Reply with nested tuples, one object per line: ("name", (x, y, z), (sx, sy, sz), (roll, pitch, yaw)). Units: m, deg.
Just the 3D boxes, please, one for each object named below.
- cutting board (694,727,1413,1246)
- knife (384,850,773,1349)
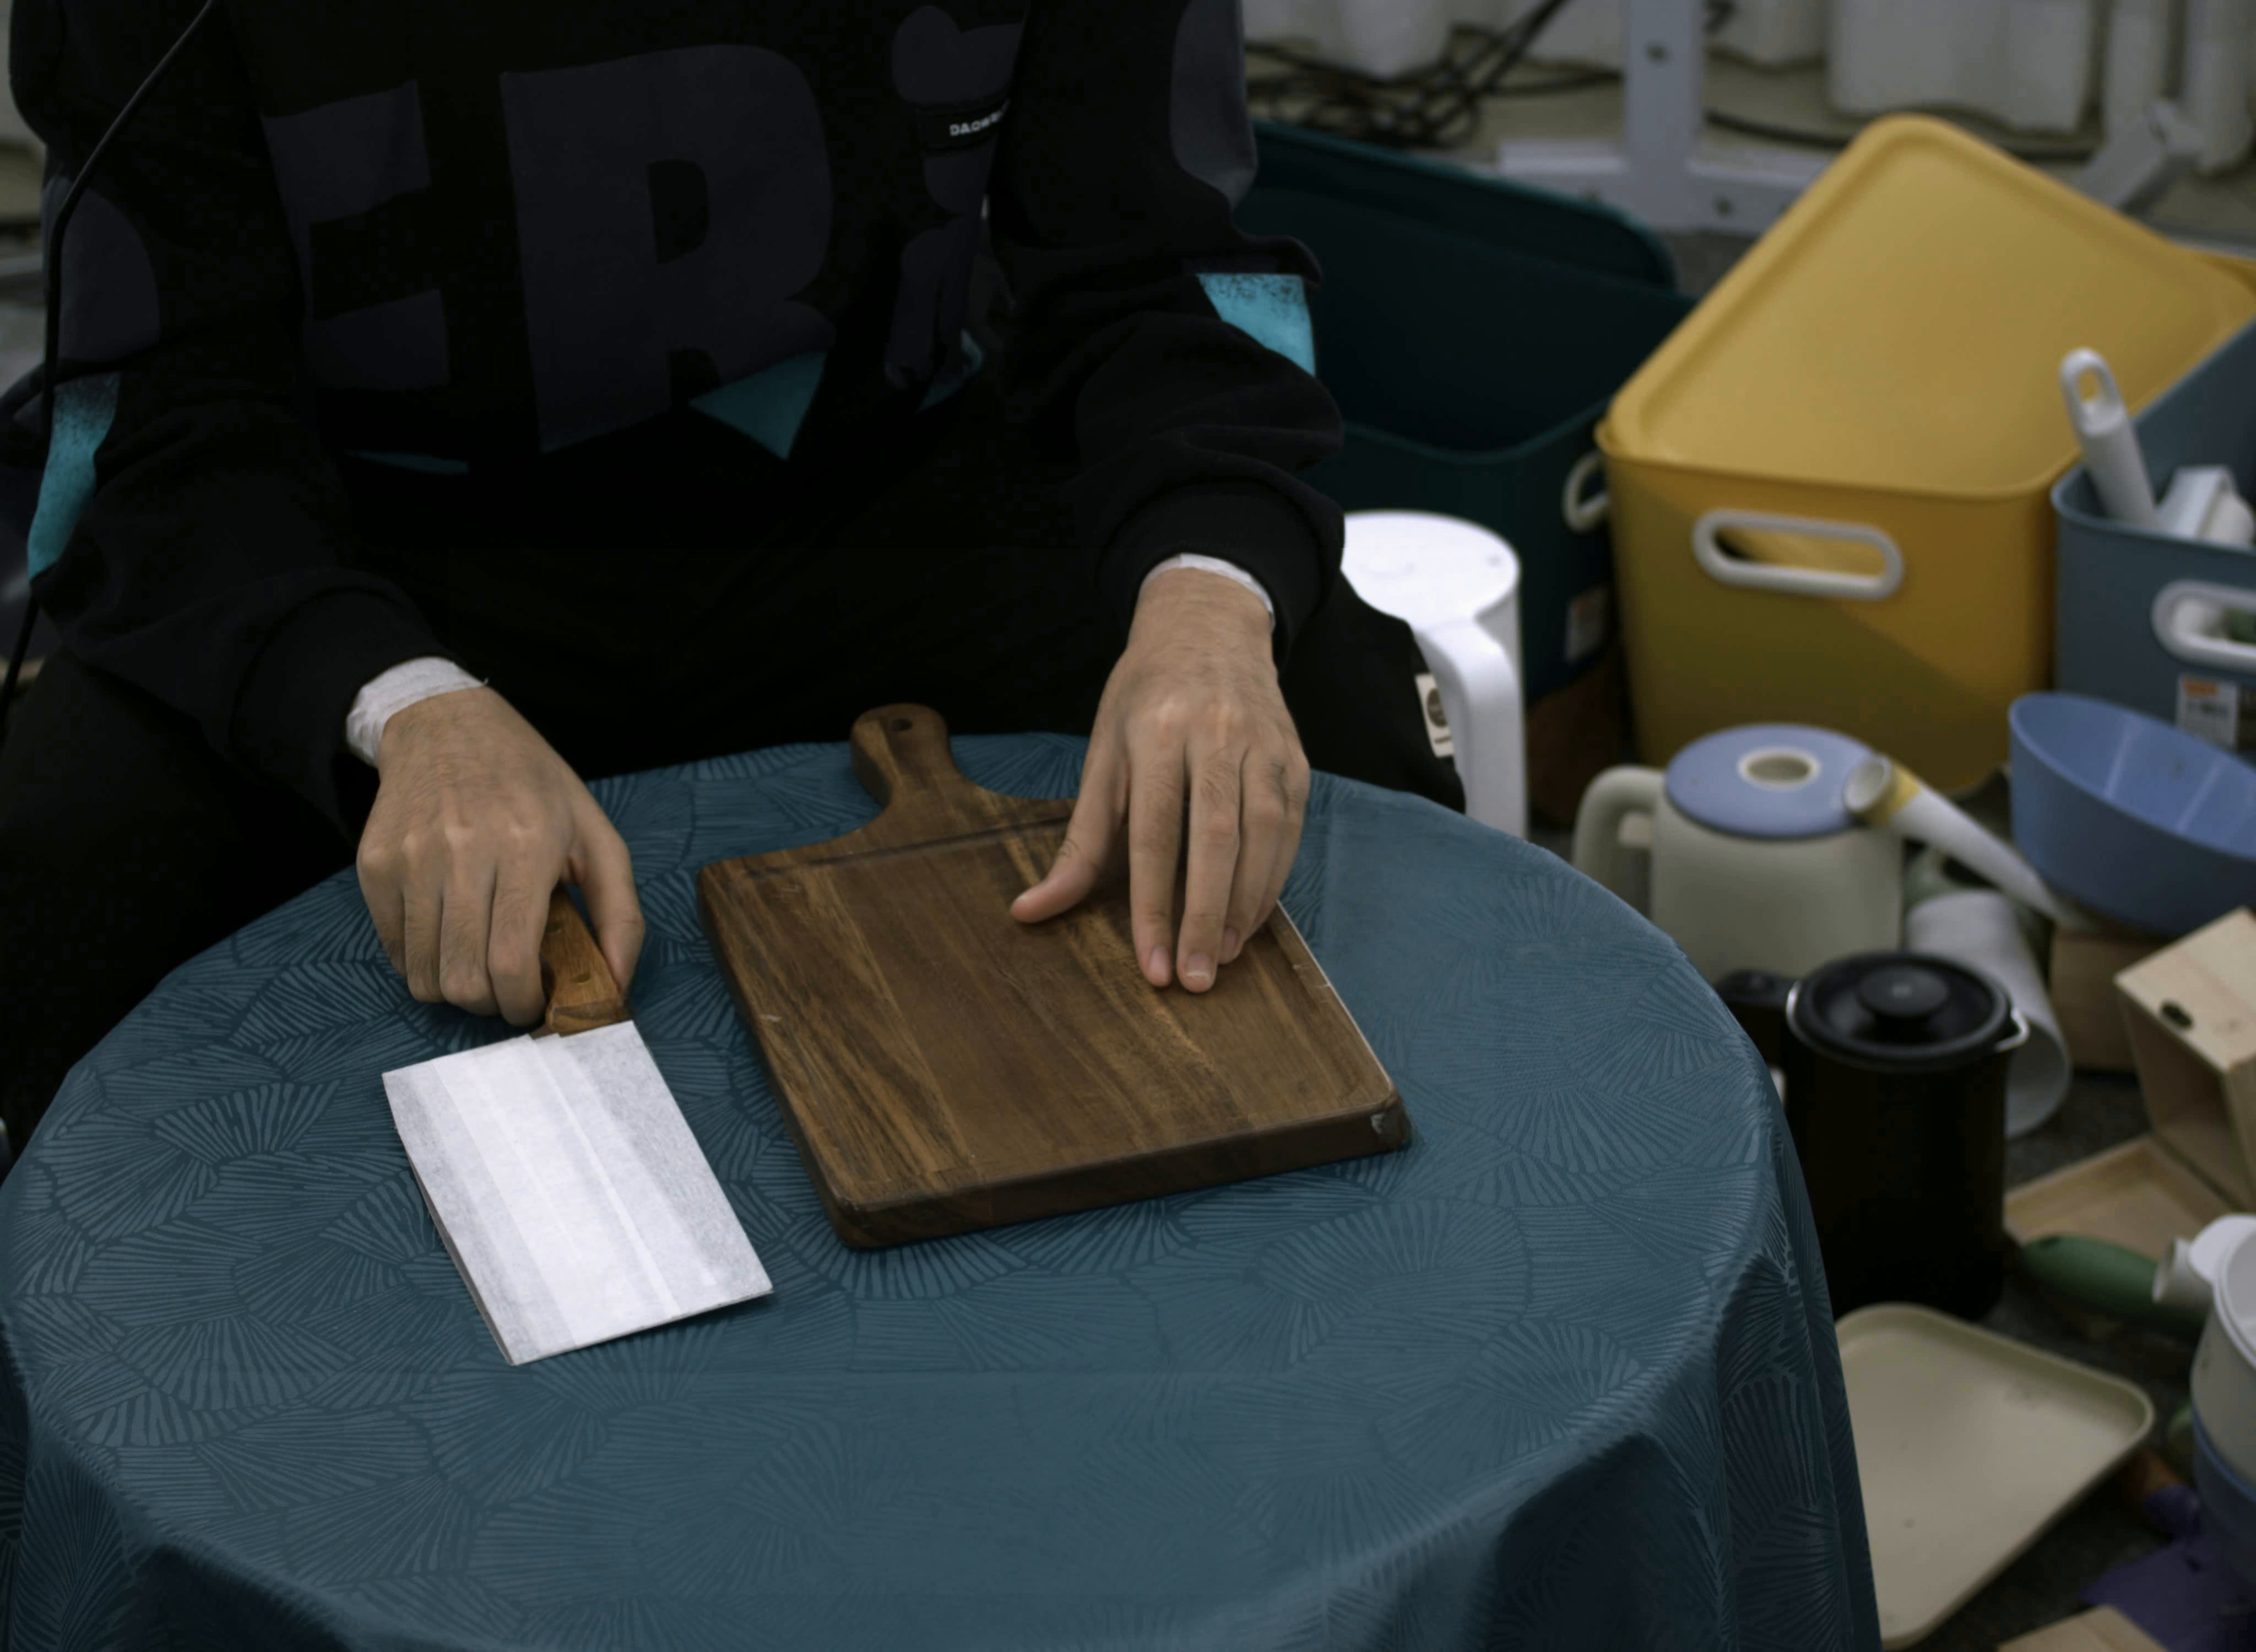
("cutting board", (-0.044, 0.043, 2.002), (0.201, 0.023, 0.355), (-9, 26, -13))
("knife", (-0.203, 0.093, 1.922), (0.093, 0.021, 0.308), (-15, 31, -13))
